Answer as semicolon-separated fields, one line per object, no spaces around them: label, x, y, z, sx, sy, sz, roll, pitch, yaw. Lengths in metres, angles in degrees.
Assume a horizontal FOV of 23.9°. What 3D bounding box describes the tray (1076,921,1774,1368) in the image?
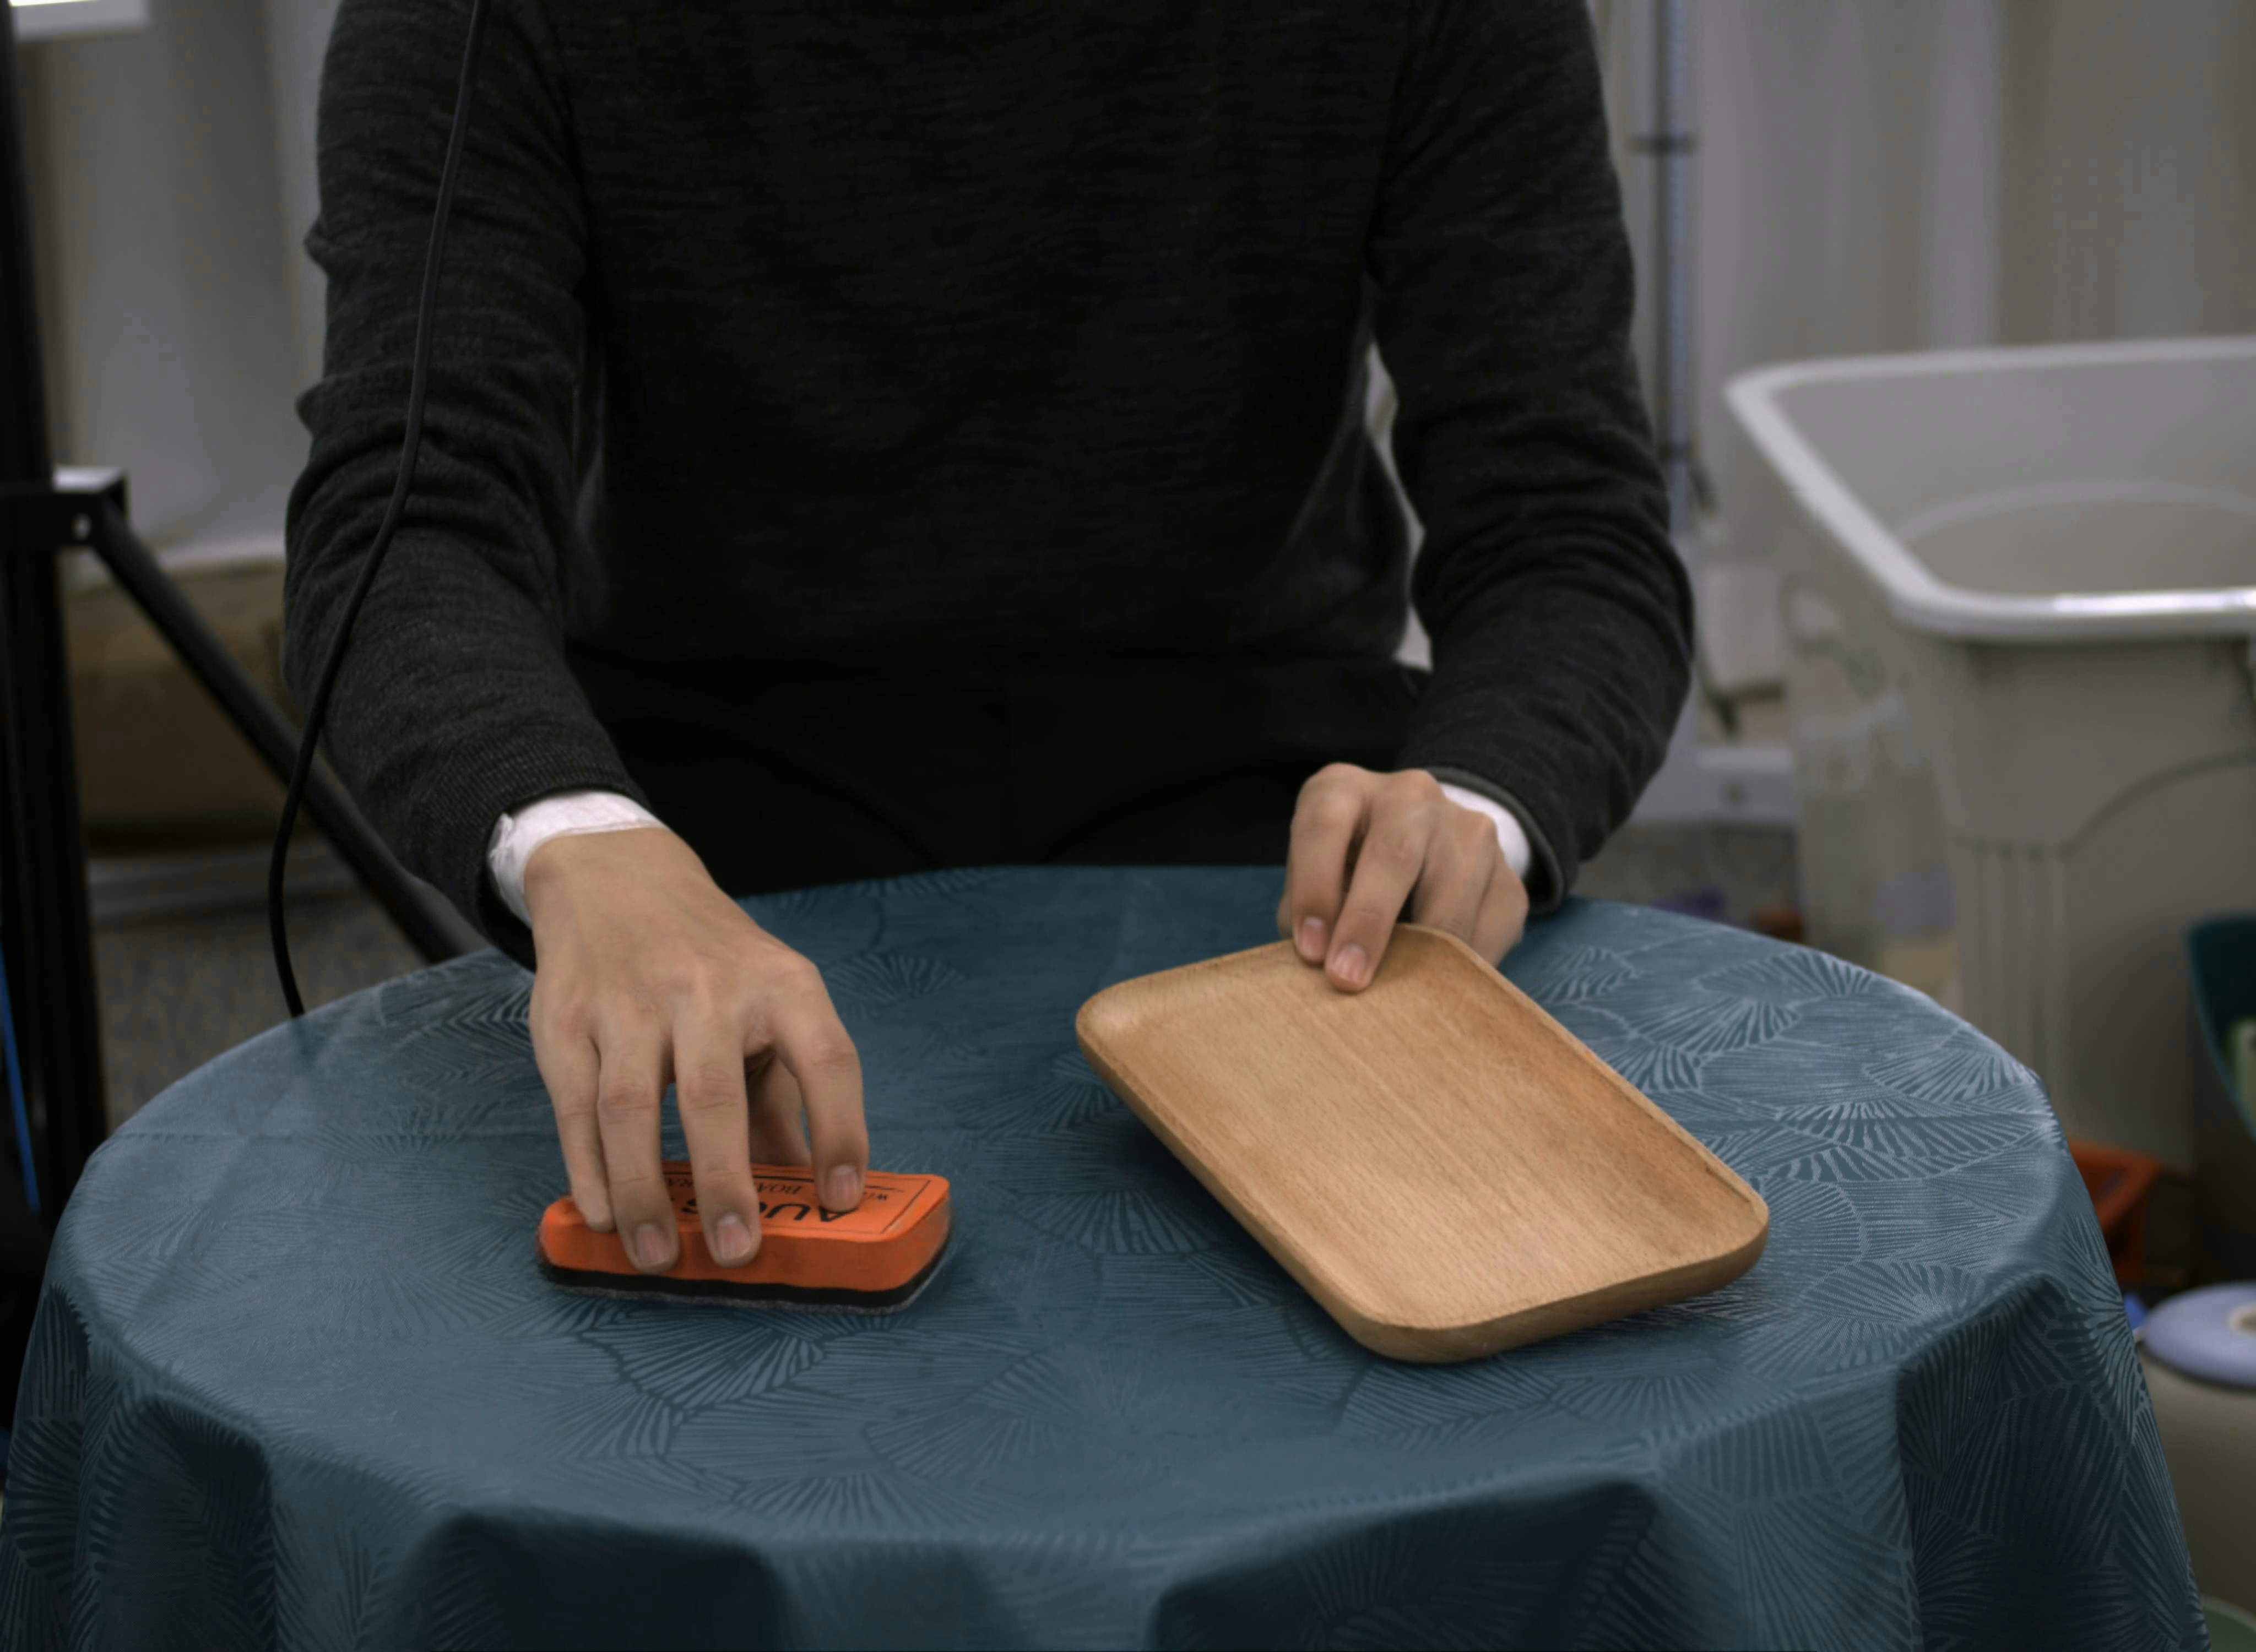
tray;0.081;0.088;1.524;0.128;0.023;0.255;-11;23;-17

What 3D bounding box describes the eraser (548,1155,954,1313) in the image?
eraser;-0.106;0.115;1.506;0.109;0.023;0.058;3;15;19
